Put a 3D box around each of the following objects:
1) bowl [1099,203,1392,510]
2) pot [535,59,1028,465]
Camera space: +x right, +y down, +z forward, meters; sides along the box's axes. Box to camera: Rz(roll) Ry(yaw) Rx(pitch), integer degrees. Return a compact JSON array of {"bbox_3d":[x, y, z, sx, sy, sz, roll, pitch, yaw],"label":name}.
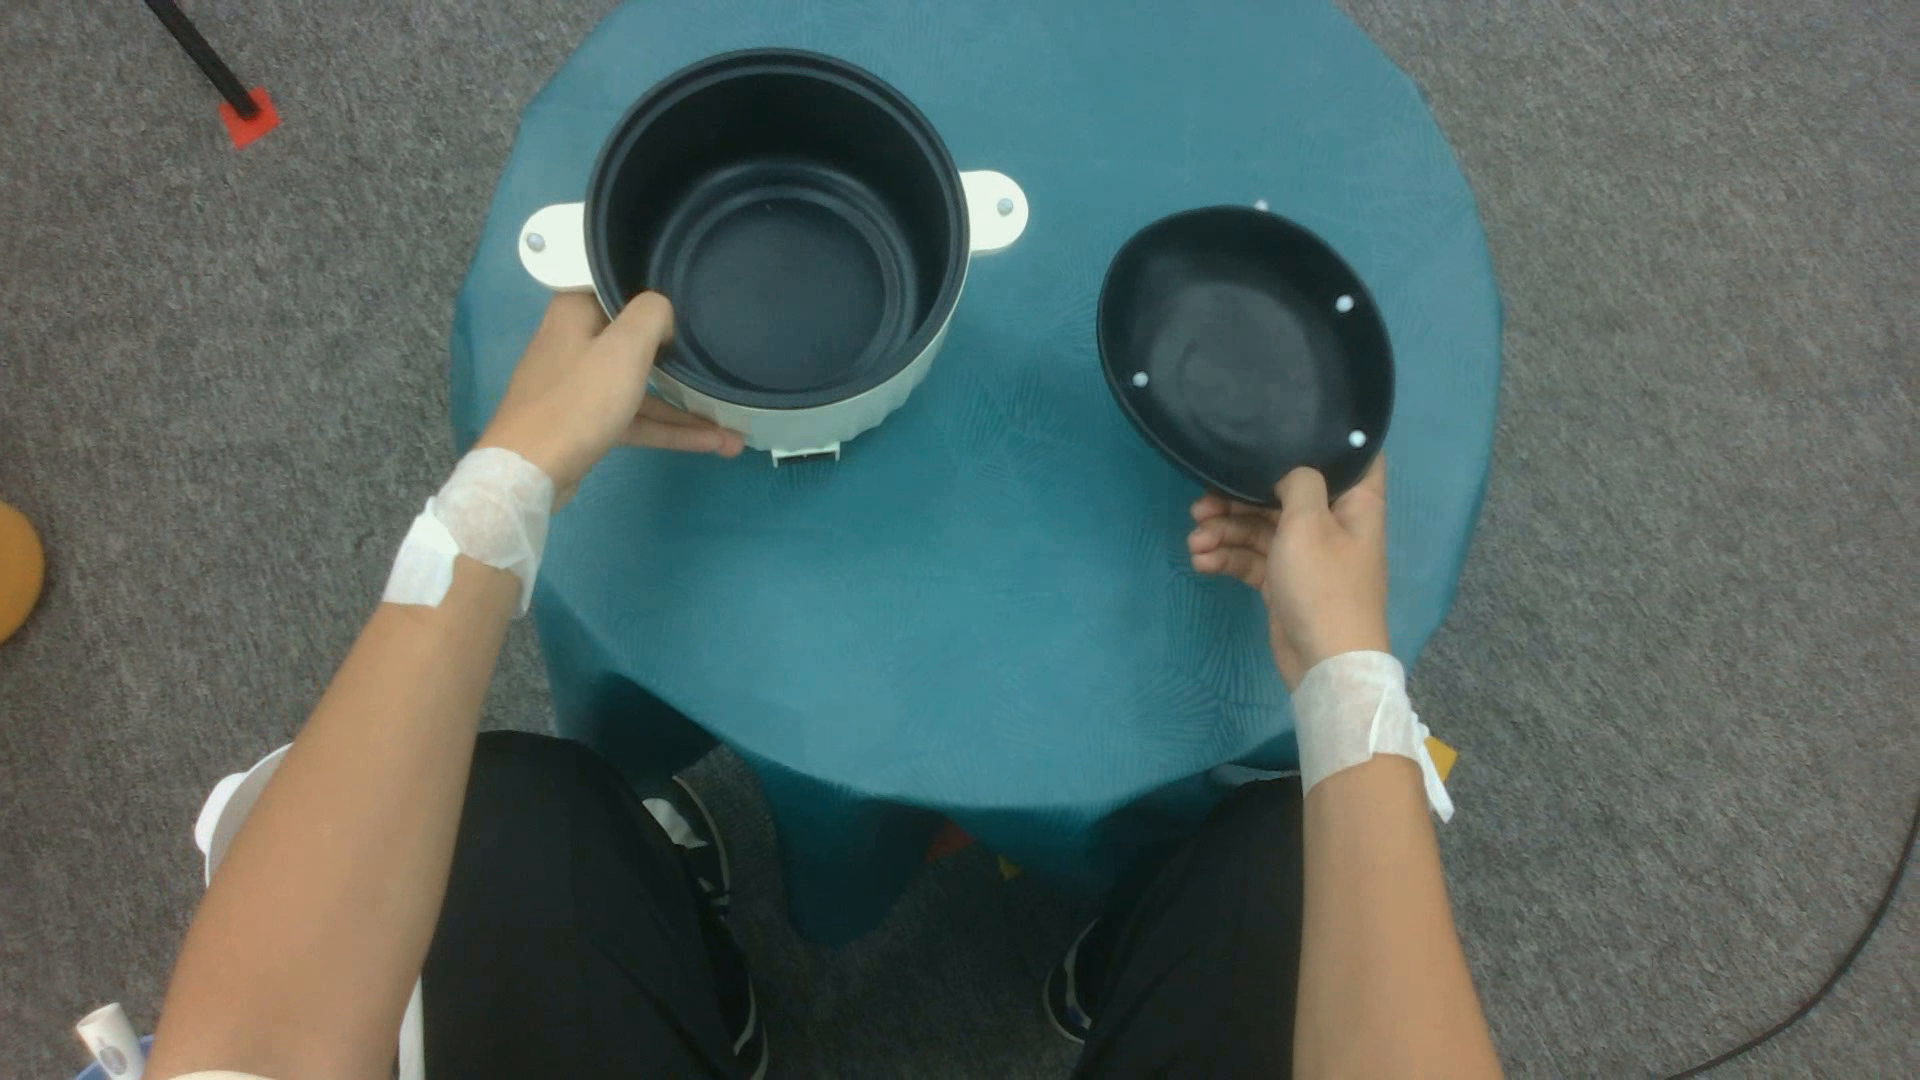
[{"bbox_3d":[0.147,-0.091,0.719,0.137,0.066,0.170,-38,81,-4],"label":"bowl"},{"bbox_3d":[-0.092,-0.144,0.729,0.240,0.142,0.190,-9,85,-9],"label":"pot"}]
